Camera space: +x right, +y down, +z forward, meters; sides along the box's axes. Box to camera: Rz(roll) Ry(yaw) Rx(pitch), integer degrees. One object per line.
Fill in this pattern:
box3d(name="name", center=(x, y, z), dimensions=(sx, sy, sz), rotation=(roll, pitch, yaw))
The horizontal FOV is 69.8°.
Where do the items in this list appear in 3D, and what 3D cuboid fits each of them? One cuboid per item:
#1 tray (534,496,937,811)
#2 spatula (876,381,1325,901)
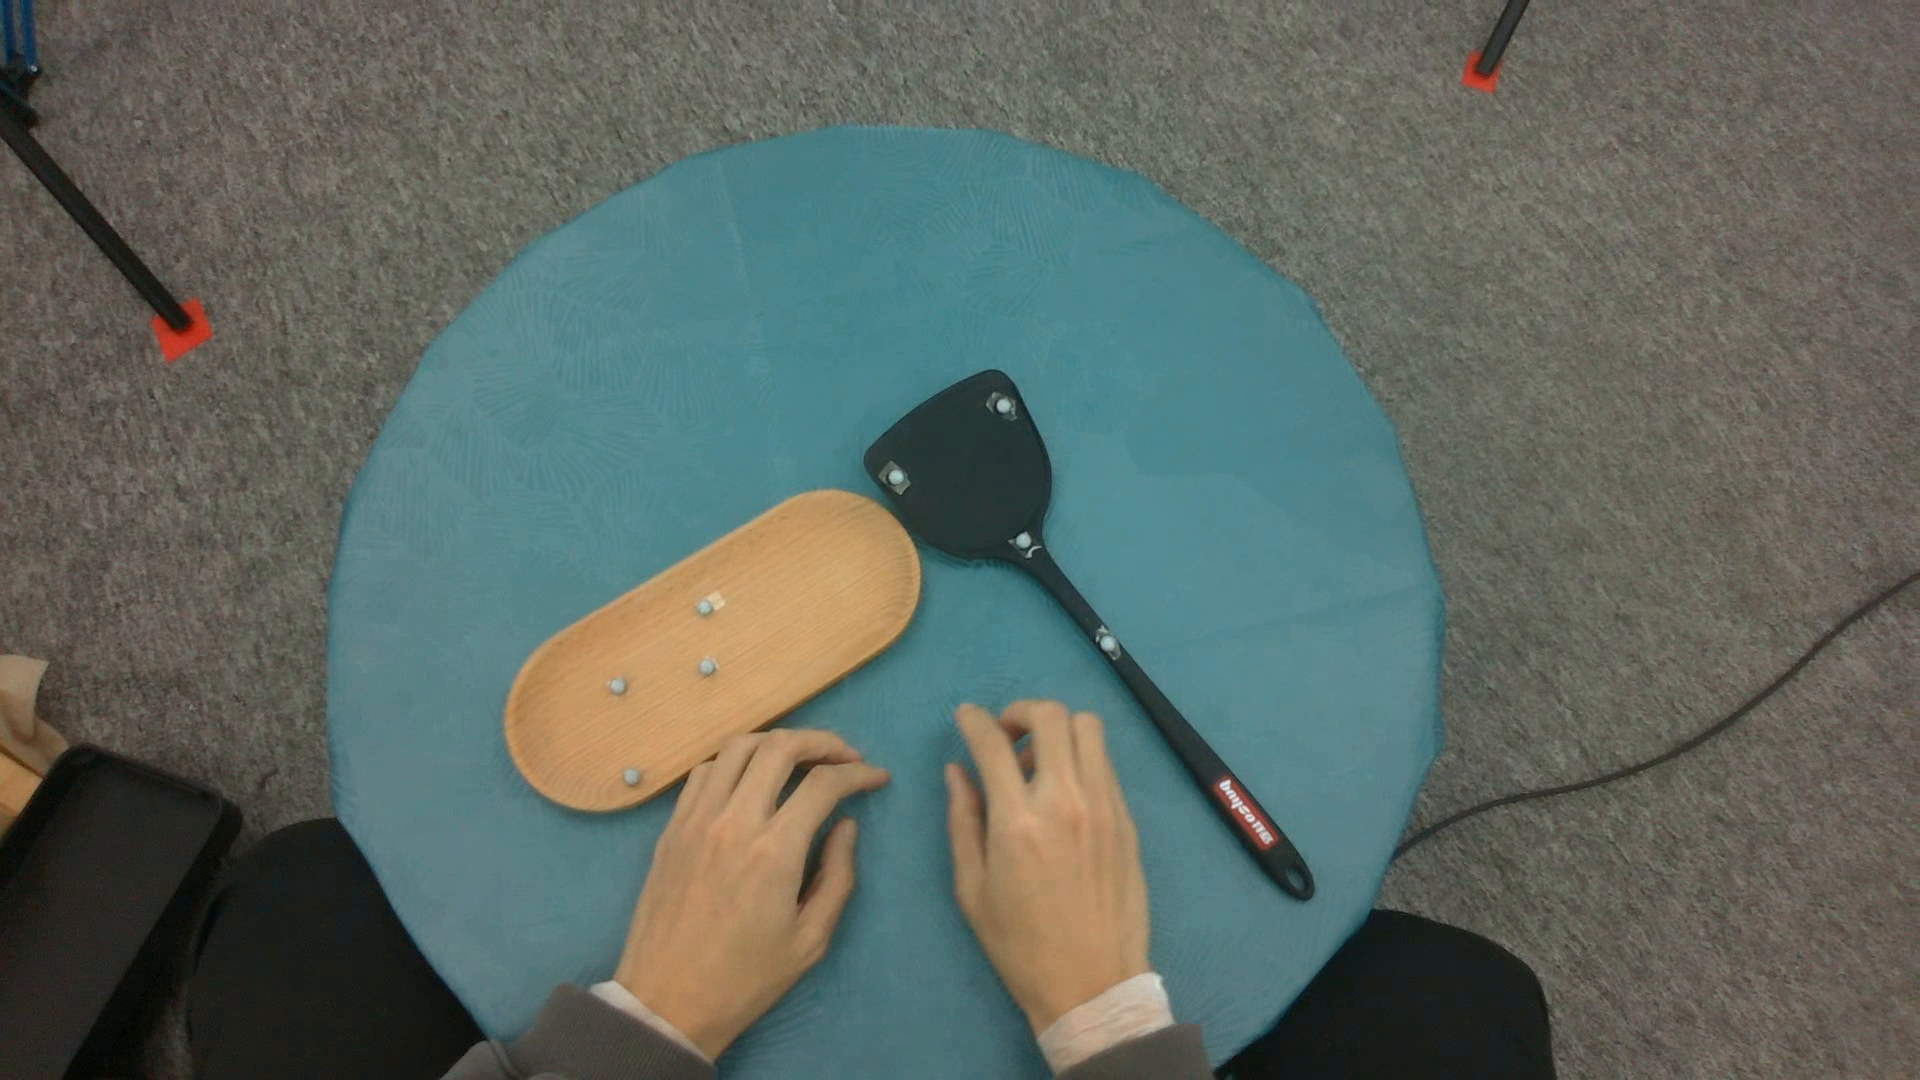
box3d(name="tray", center=(-0.117, 0.059, 0.739), dimensions=(0.232, 0.020, 0.102), rotation=(-31, 72, -15))
box3d(name="spatula", center=(0.084, 0.057, 0.734), dimensions=(0.100, 0.040, 0.326), rotation=(-35, 72, -13))
